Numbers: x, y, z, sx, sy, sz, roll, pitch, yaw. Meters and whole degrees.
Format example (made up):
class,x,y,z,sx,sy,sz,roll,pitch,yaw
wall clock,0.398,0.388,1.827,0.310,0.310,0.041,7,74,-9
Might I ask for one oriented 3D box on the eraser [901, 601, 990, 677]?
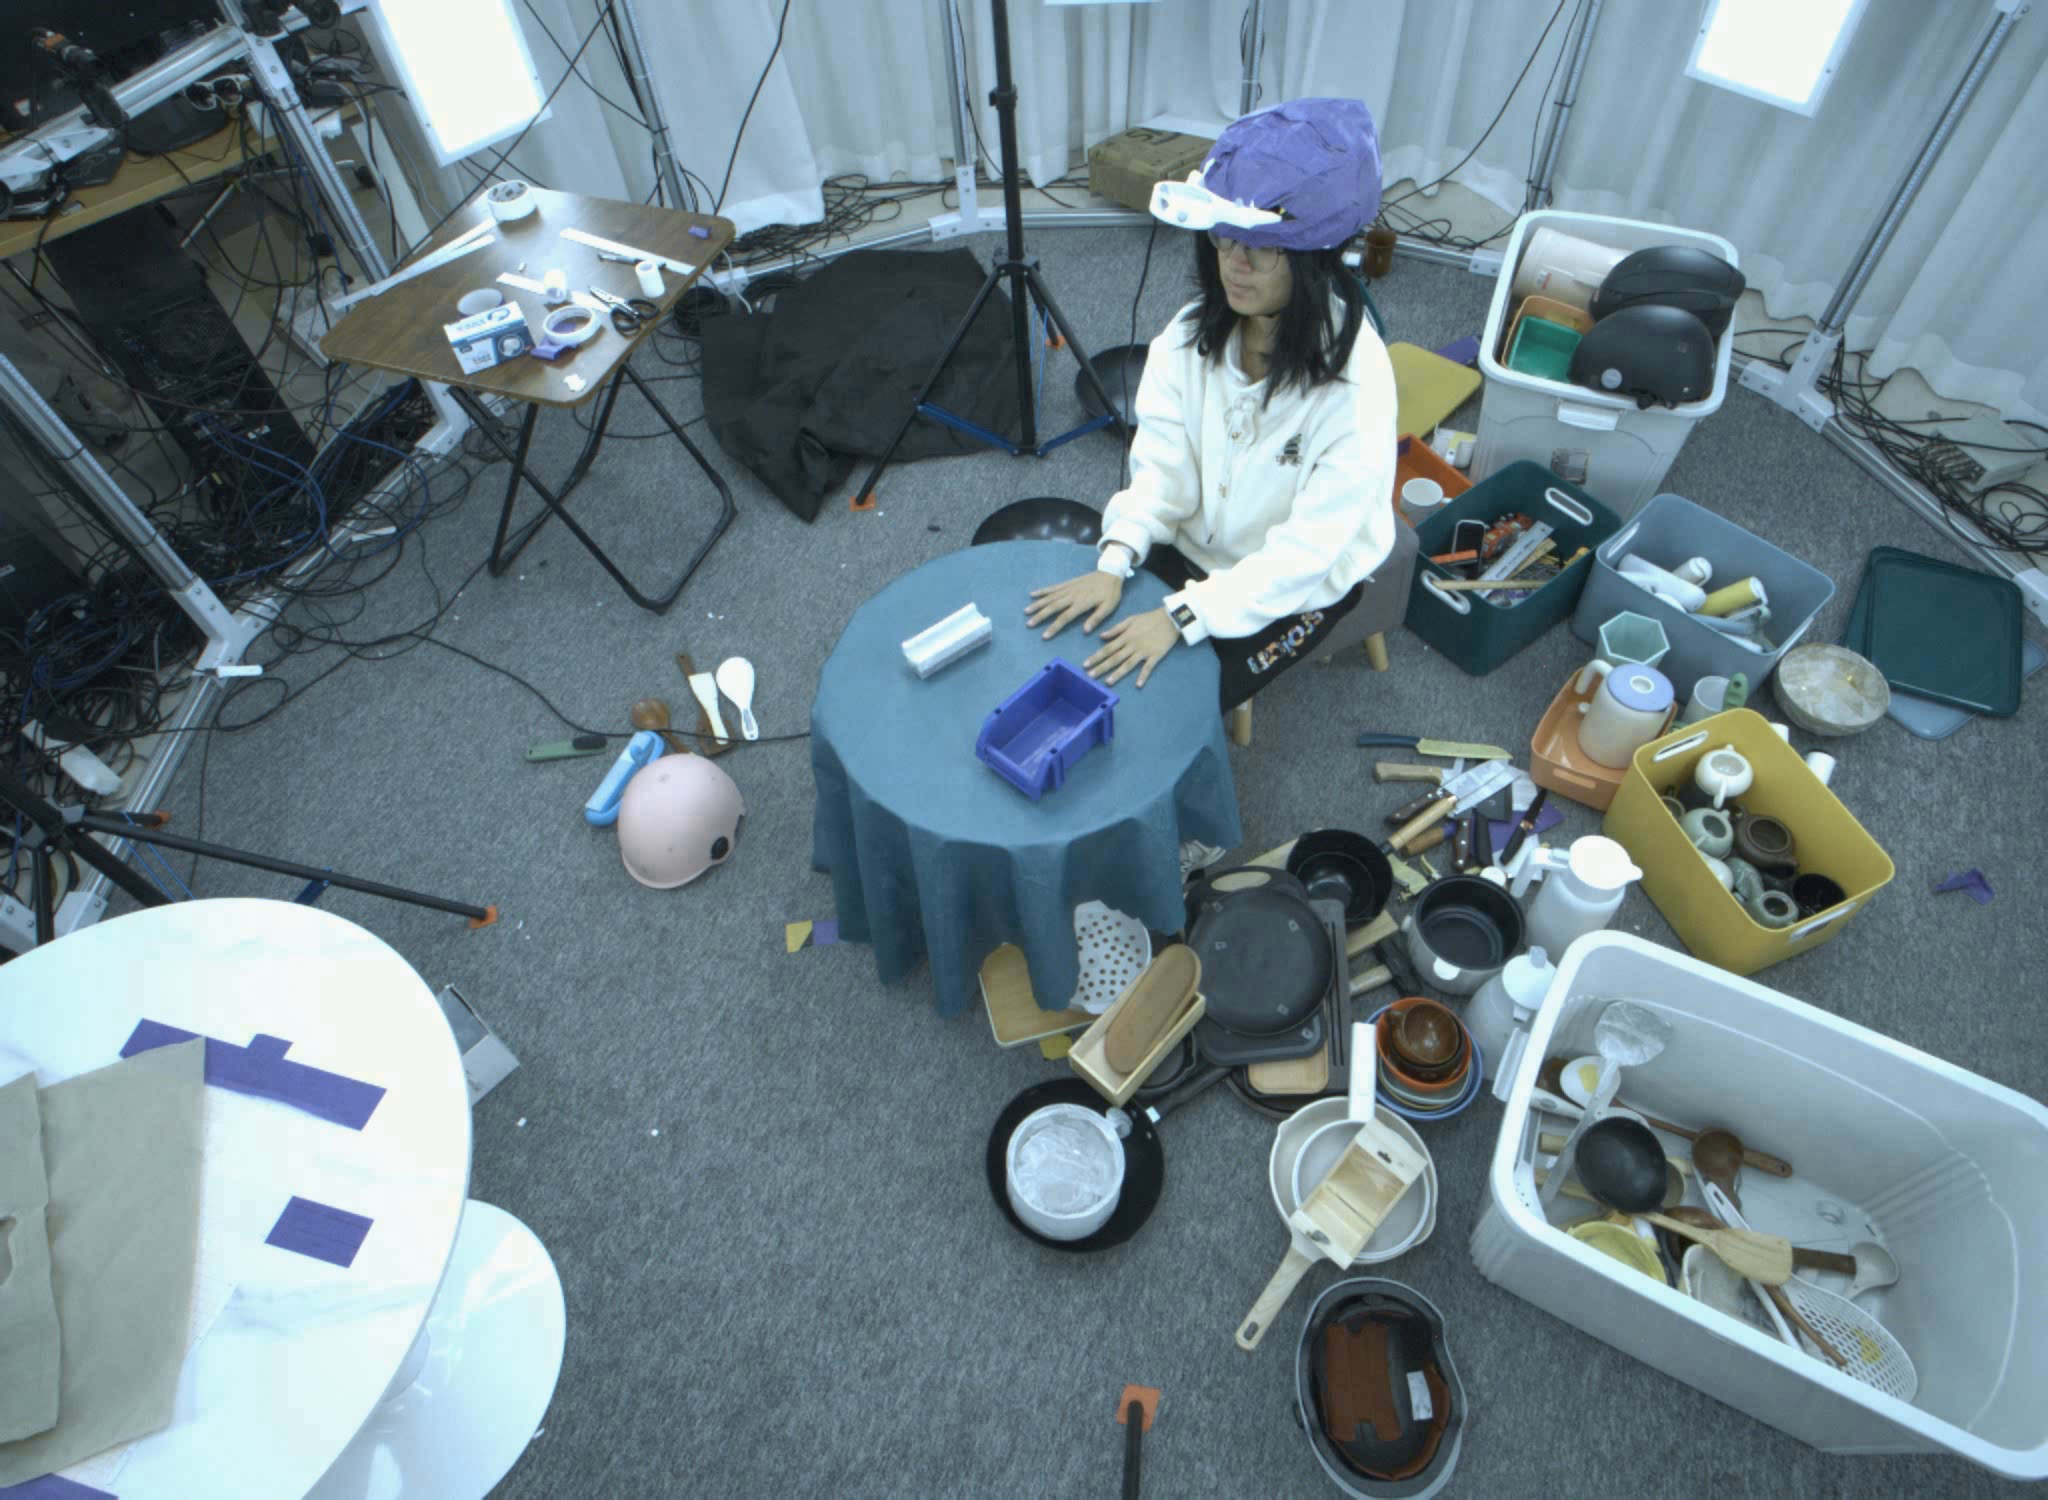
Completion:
class,x,y,z,sx,sy,sz,roll,pitch,yaw
eraser,-0.119,-0.169,1.882,0.135,0.047,0.049,-35,58,-19

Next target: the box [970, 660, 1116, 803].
class,x,y,z,sx,sy,sz,roll,pitch,yaw
box,0.027,-0.022,1.752,0.122,0.083,0.181,38,62,25
